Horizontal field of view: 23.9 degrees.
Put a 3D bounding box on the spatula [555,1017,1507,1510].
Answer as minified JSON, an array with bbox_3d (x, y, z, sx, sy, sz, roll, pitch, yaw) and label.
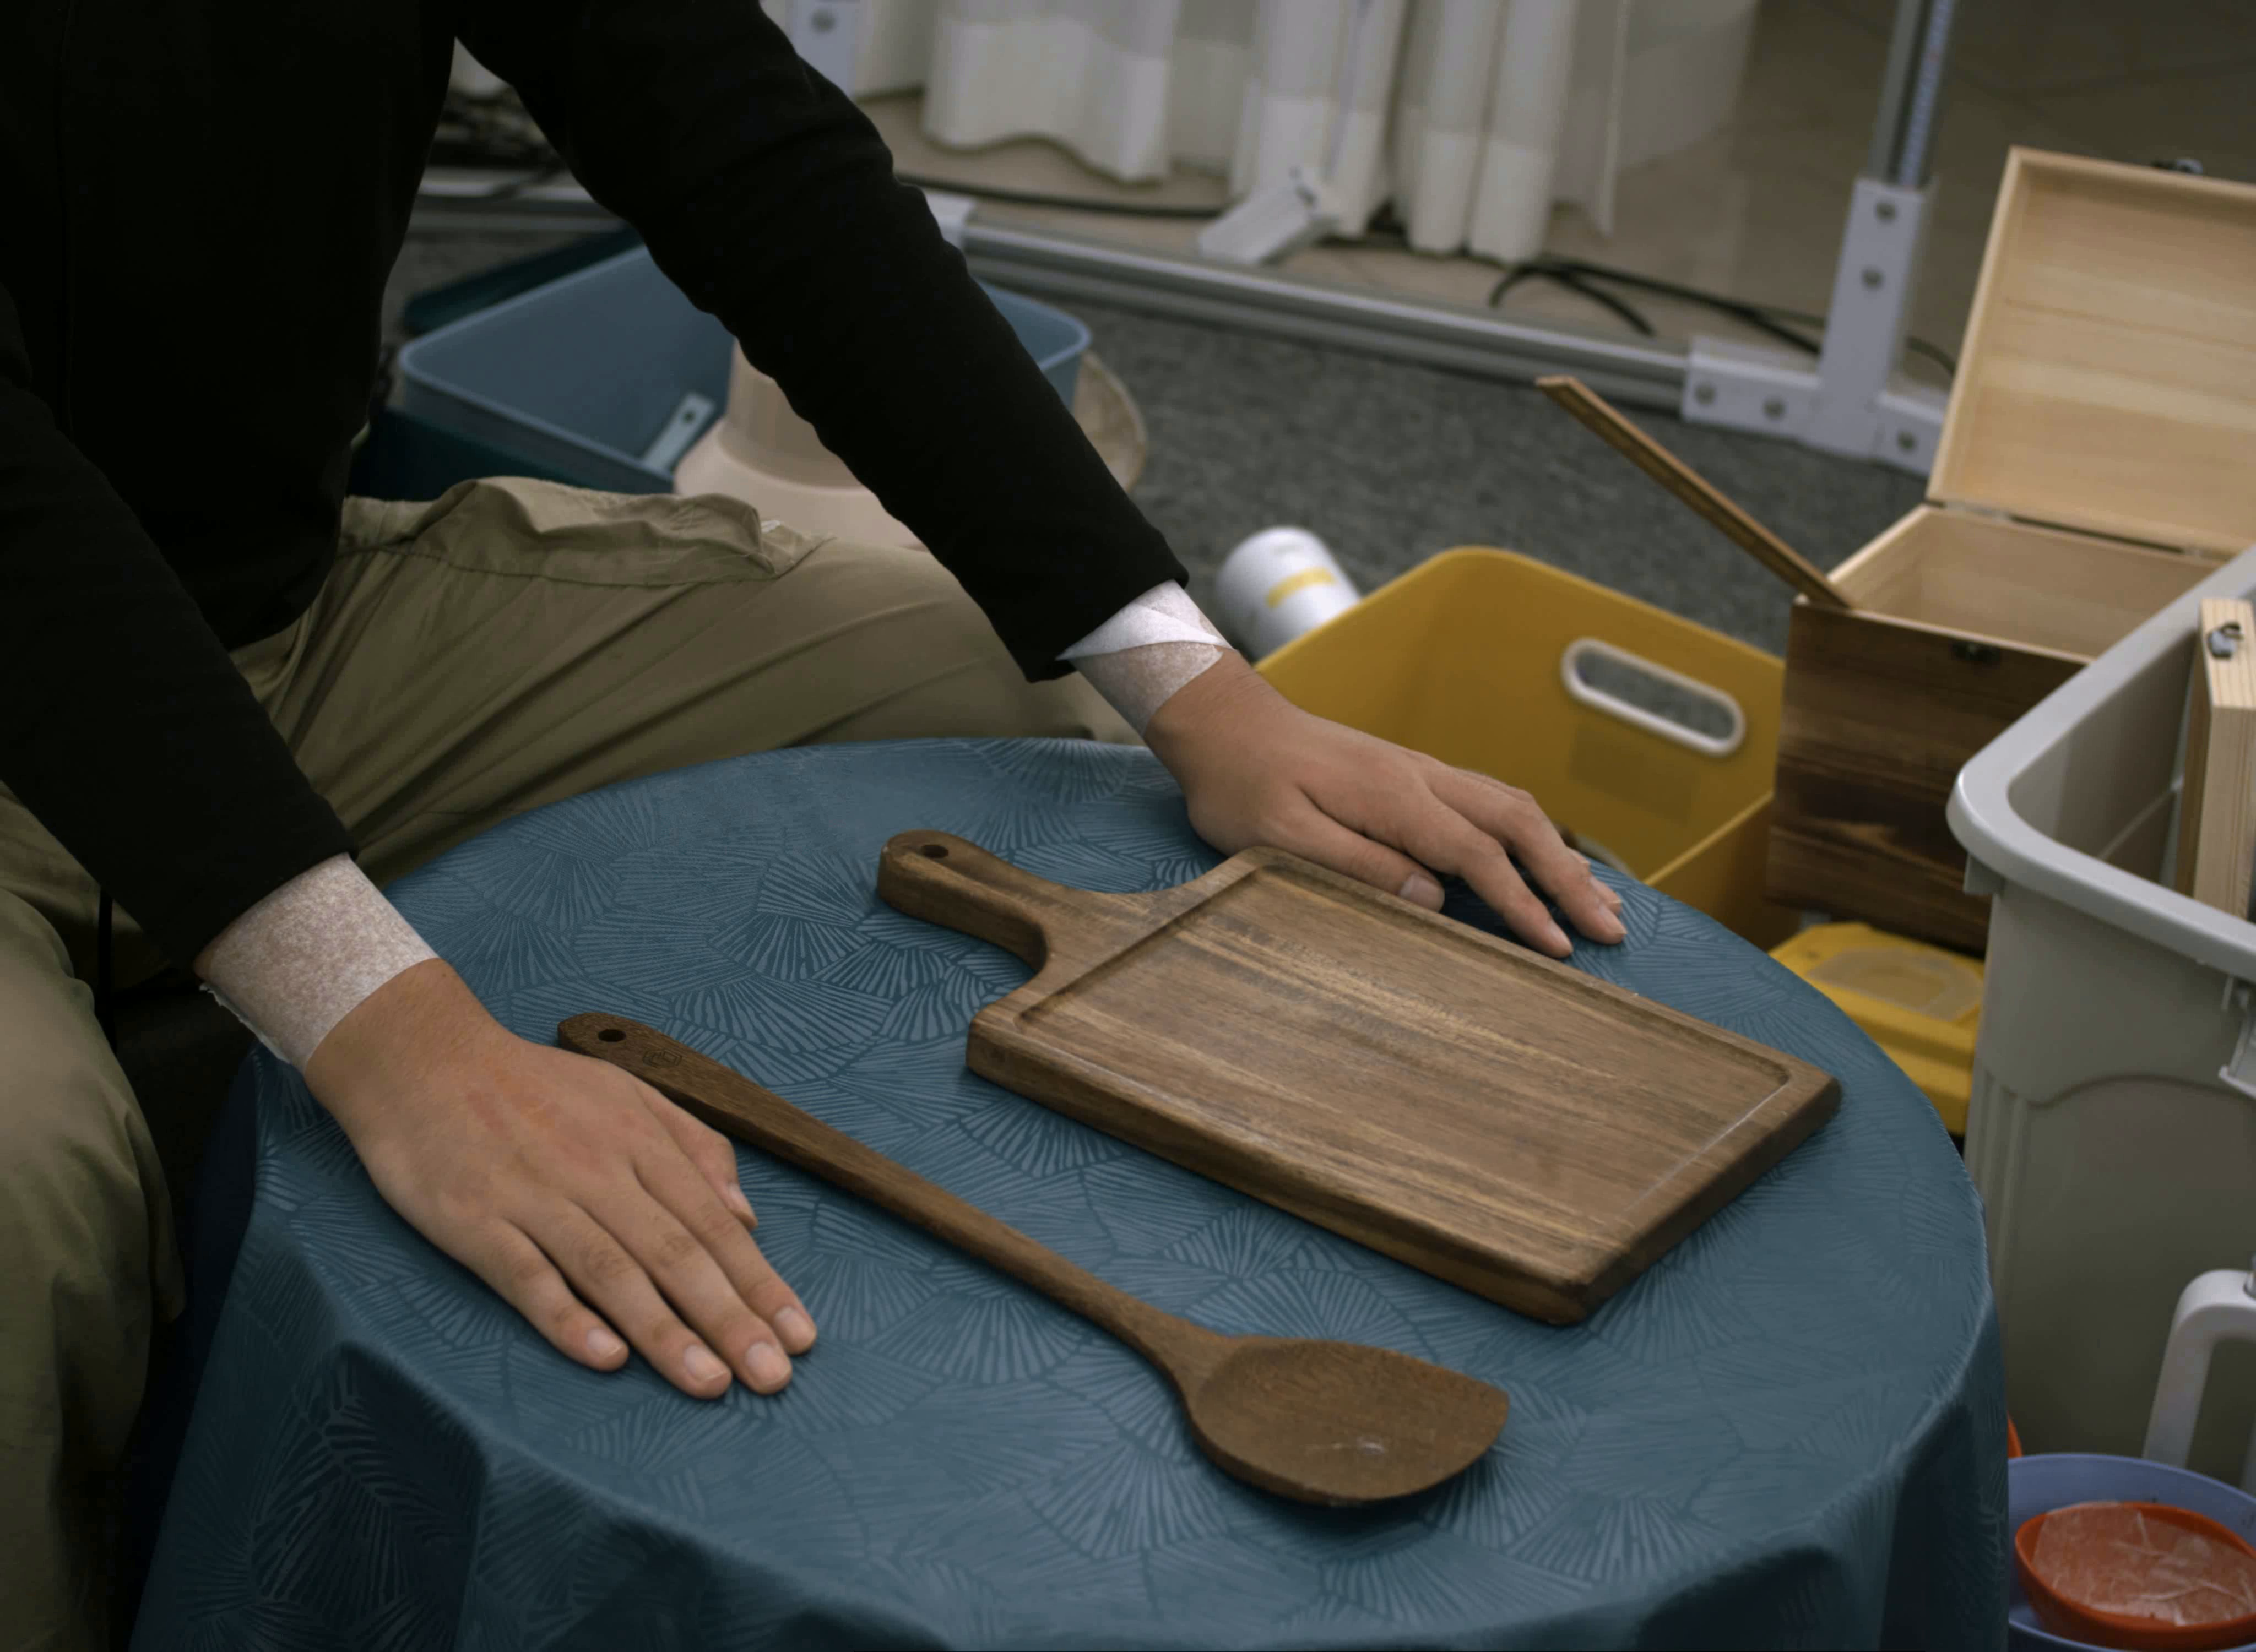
[{"bbox_3d":[-0.047,0.136,1.751,0.388,0.016,0.096,25,32,32],"label":"spatula"}]

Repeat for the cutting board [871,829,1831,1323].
[{"bbox_3d":[0.056,0.069,1.898,0.354,0.023,0.200,22,30,27],"label":"cutting board"}]
